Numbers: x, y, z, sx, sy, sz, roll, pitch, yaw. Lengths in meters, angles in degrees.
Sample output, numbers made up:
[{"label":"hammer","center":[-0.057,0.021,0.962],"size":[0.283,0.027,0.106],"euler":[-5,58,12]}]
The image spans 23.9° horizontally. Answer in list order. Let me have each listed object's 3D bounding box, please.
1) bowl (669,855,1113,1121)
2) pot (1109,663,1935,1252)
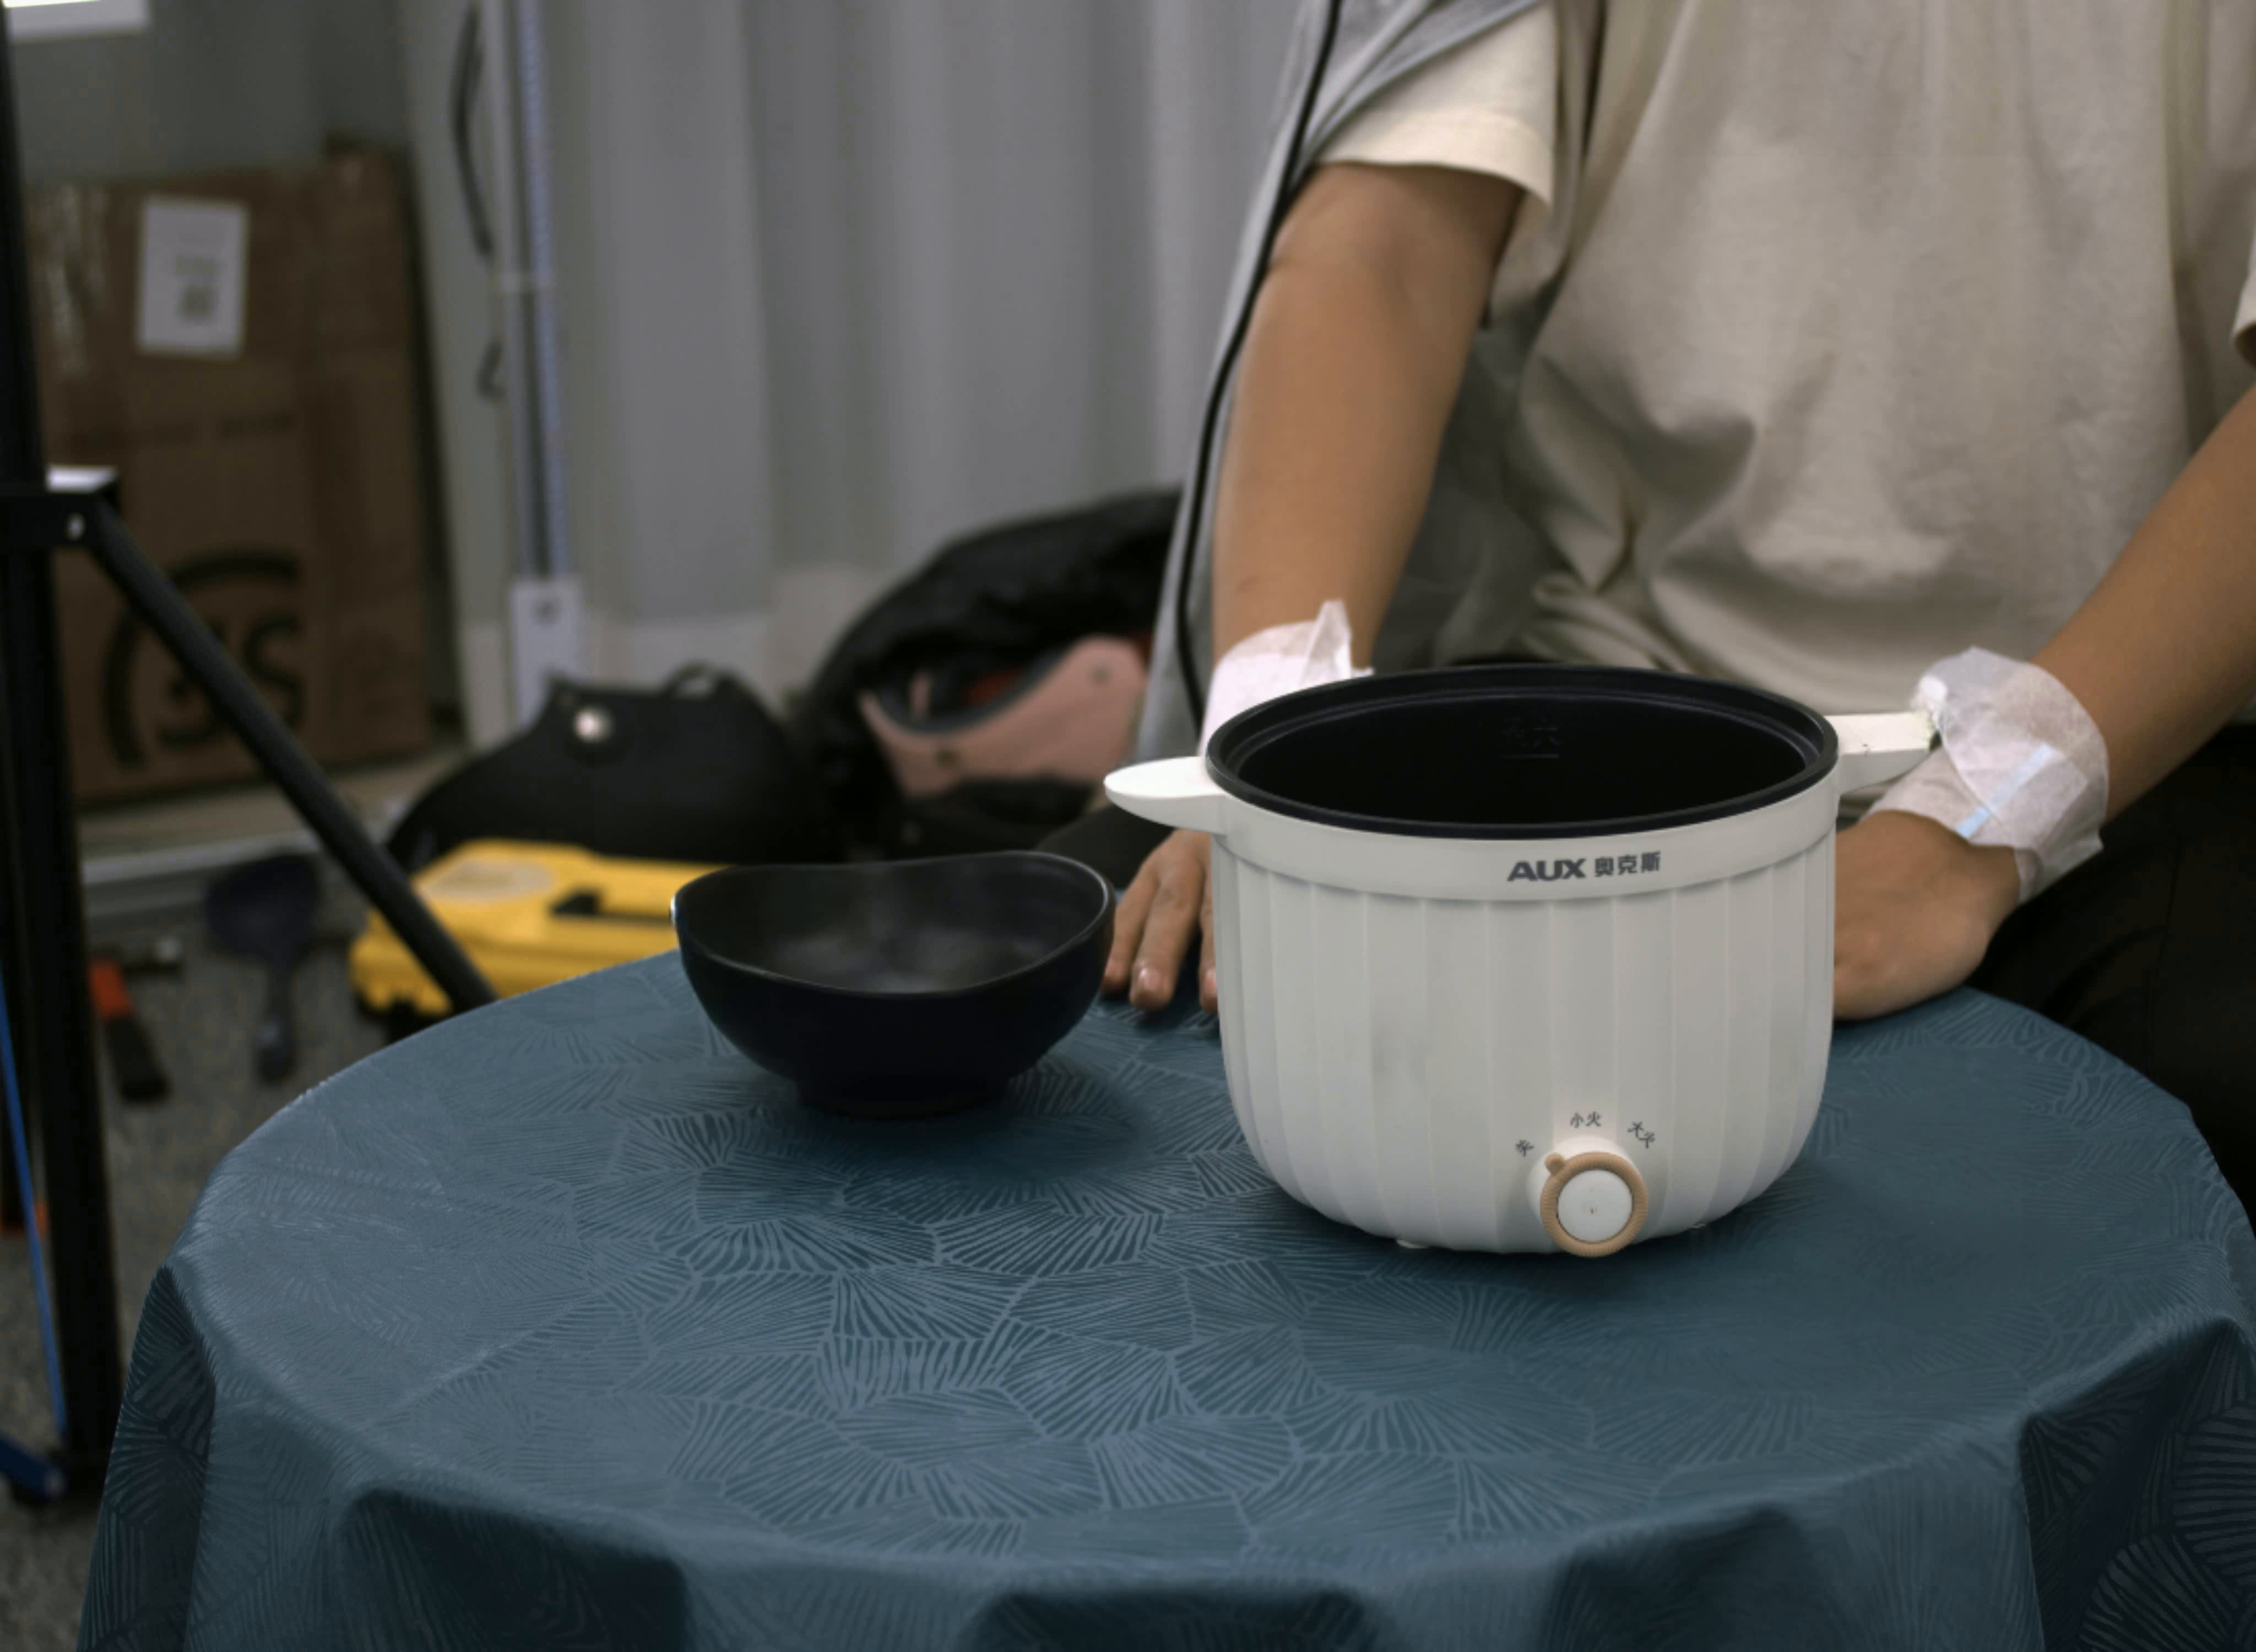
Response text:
[{"label":"bowl","center":[-0.073,0.051,1.650],"size":[0.136,0.067,0.172],"euler":[-3,14,-6]},{"label":"pot","center":[0.117,0.040,1.522],"size":[0.238,0.143,0.192],"euler":[-5,12,-5]}]
